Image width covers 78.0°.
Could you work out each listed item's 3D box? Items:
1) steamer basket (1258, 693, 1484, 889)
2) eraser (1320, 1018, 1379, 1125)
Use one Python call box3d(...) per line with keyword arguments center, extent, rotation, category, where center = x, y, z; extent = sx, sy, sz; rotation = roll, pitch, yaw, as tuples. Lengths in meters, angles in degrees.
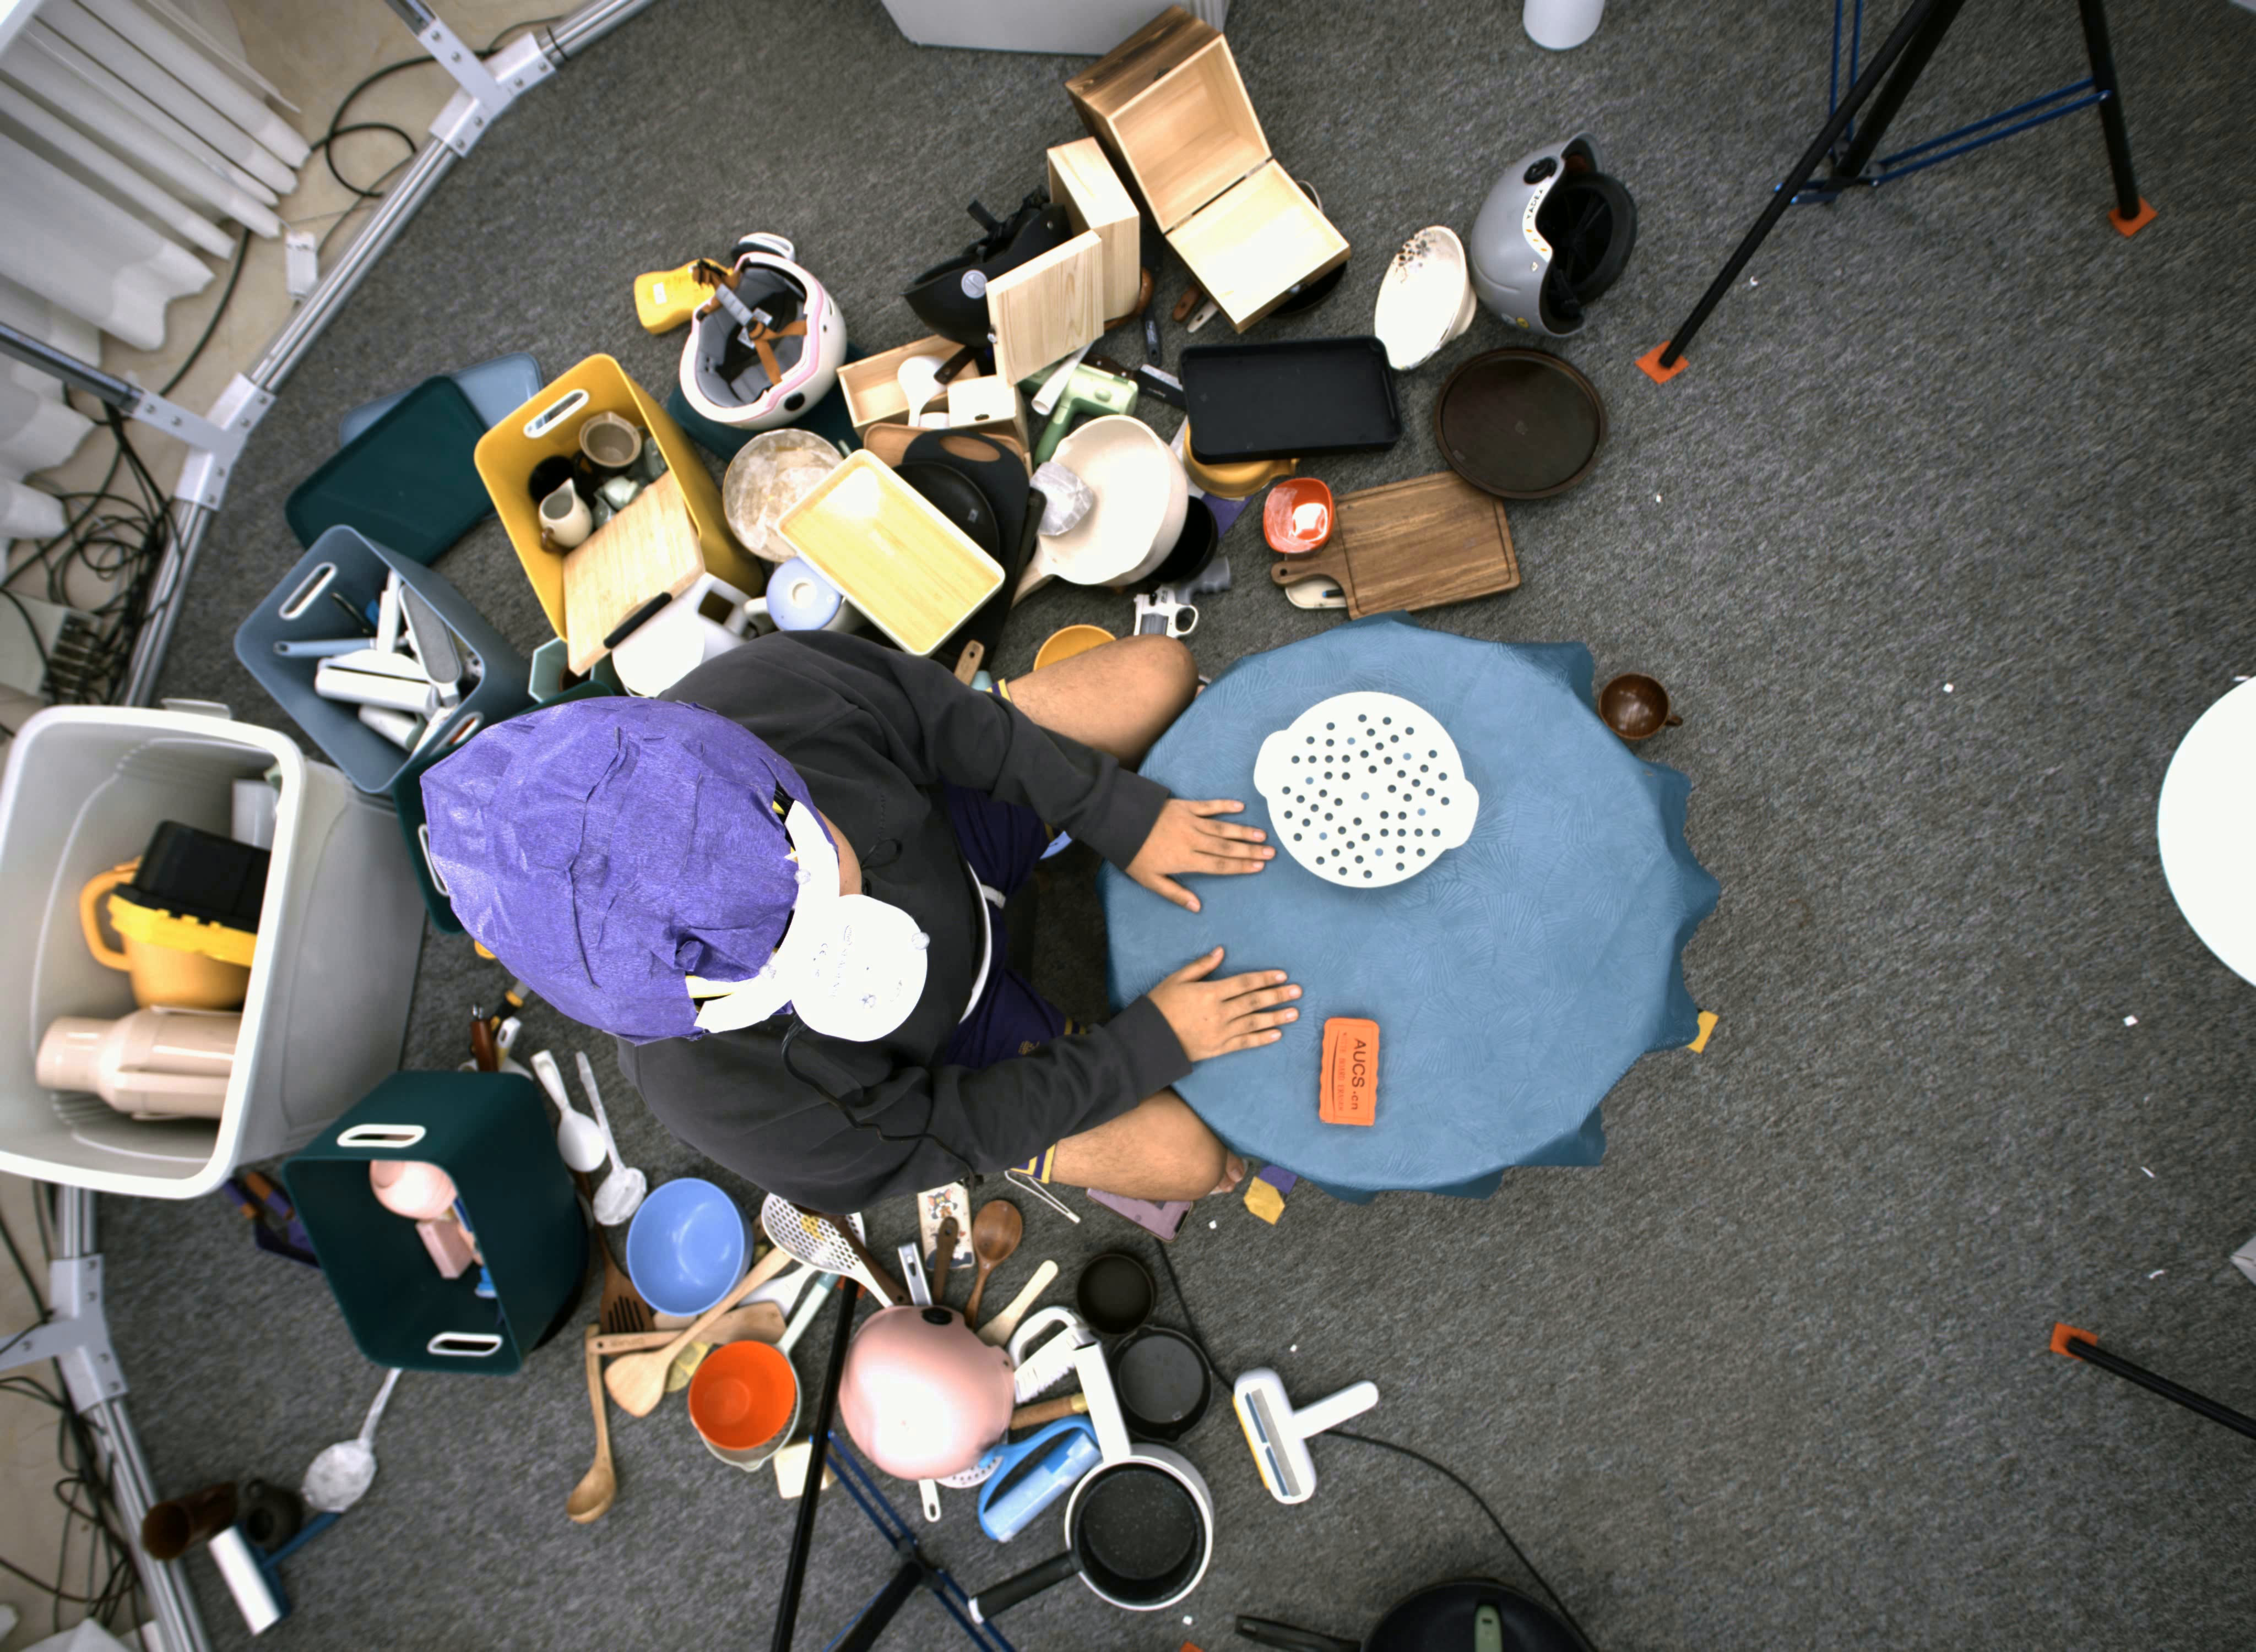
box3d(center=(0.252, -0.035, 1.436), extent=(0.231, 0.069, 0.201), rotation=(16, 90, 10), category="steamer basket")
box3d(center=(0.231, 0.253, 1.441), extent=(0.059, 0.023, 0.108), rotation=(2, 88, 16), category="eraser")
